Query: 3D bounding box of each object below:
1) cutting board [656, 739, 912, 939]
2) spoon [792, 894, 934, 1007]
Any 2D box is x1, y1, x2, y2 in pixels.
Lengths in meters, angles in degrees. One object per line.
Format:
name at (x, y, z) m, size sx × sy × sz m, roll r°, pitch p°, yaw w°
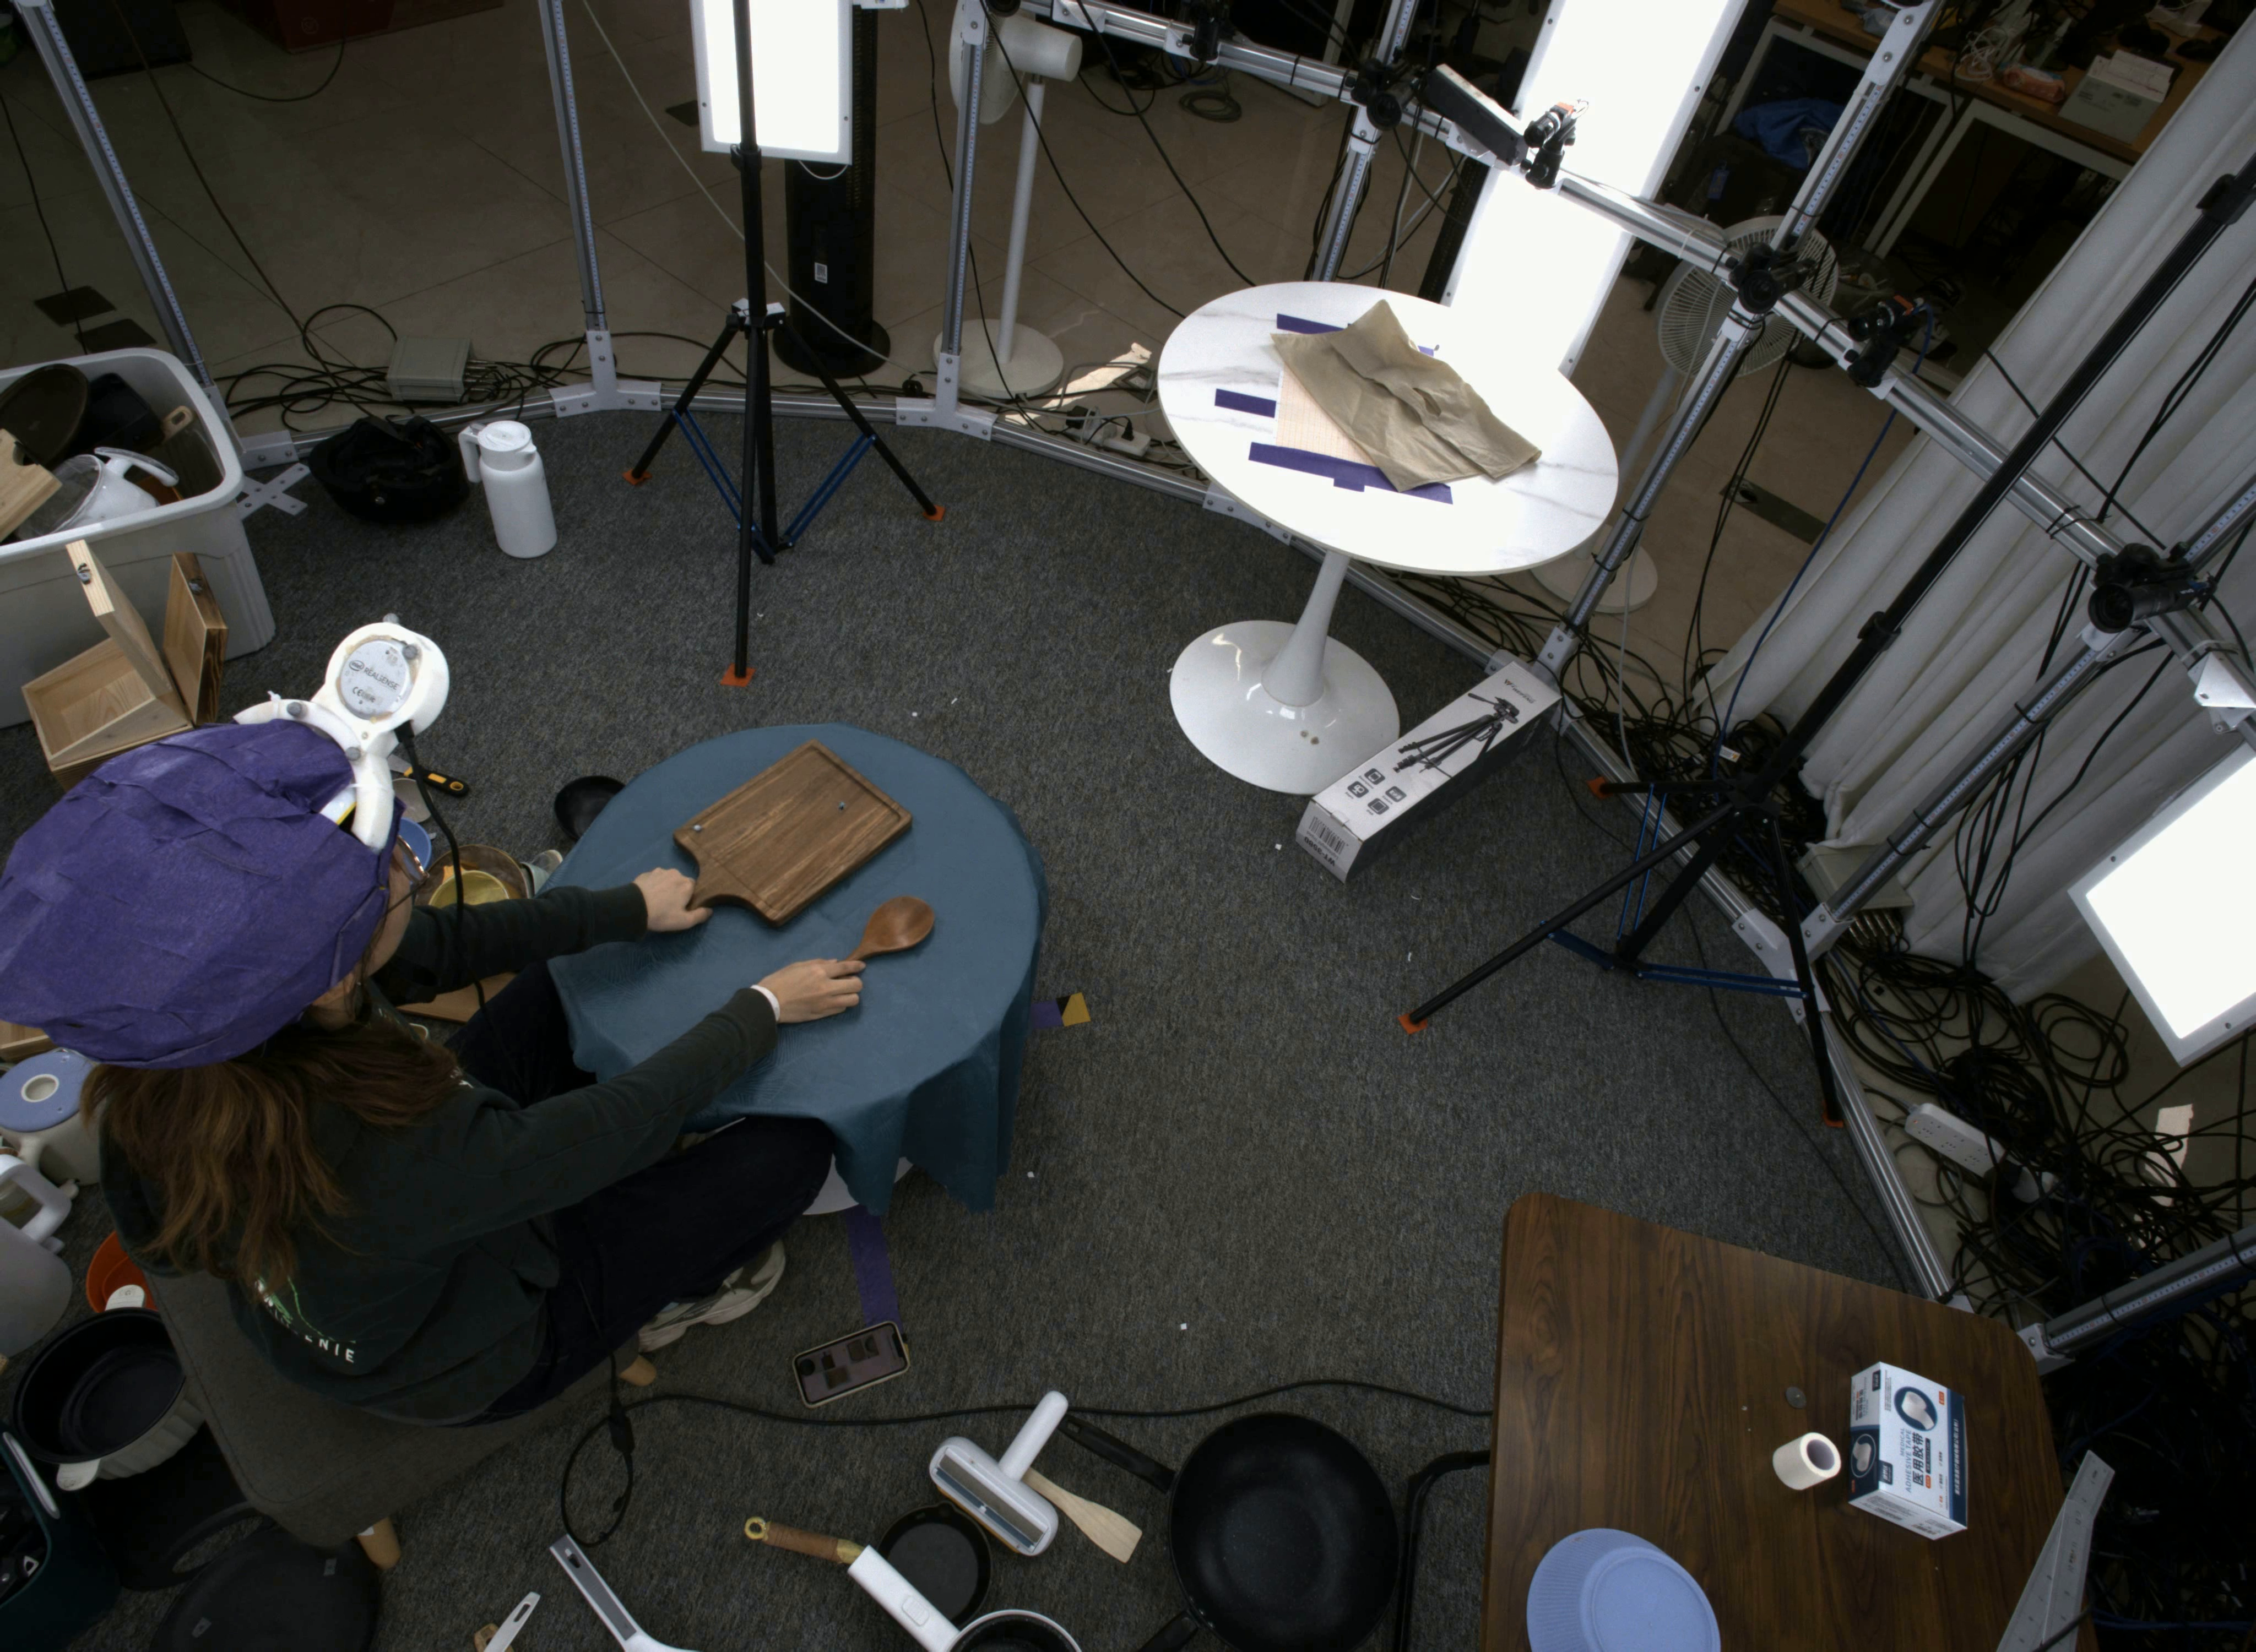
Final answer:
cutting board at (-0.468, 0.030, 1.677) m, size 0.197 × 0.023 × 0.352 m, roll 38°, pitch 52°, yaw 13°
spoon at (-0.332, 0.155, 1.624) m, size 0.074 × 0.017 × 0.216 m, roll 41°, pitch 53°, yaw 15°
